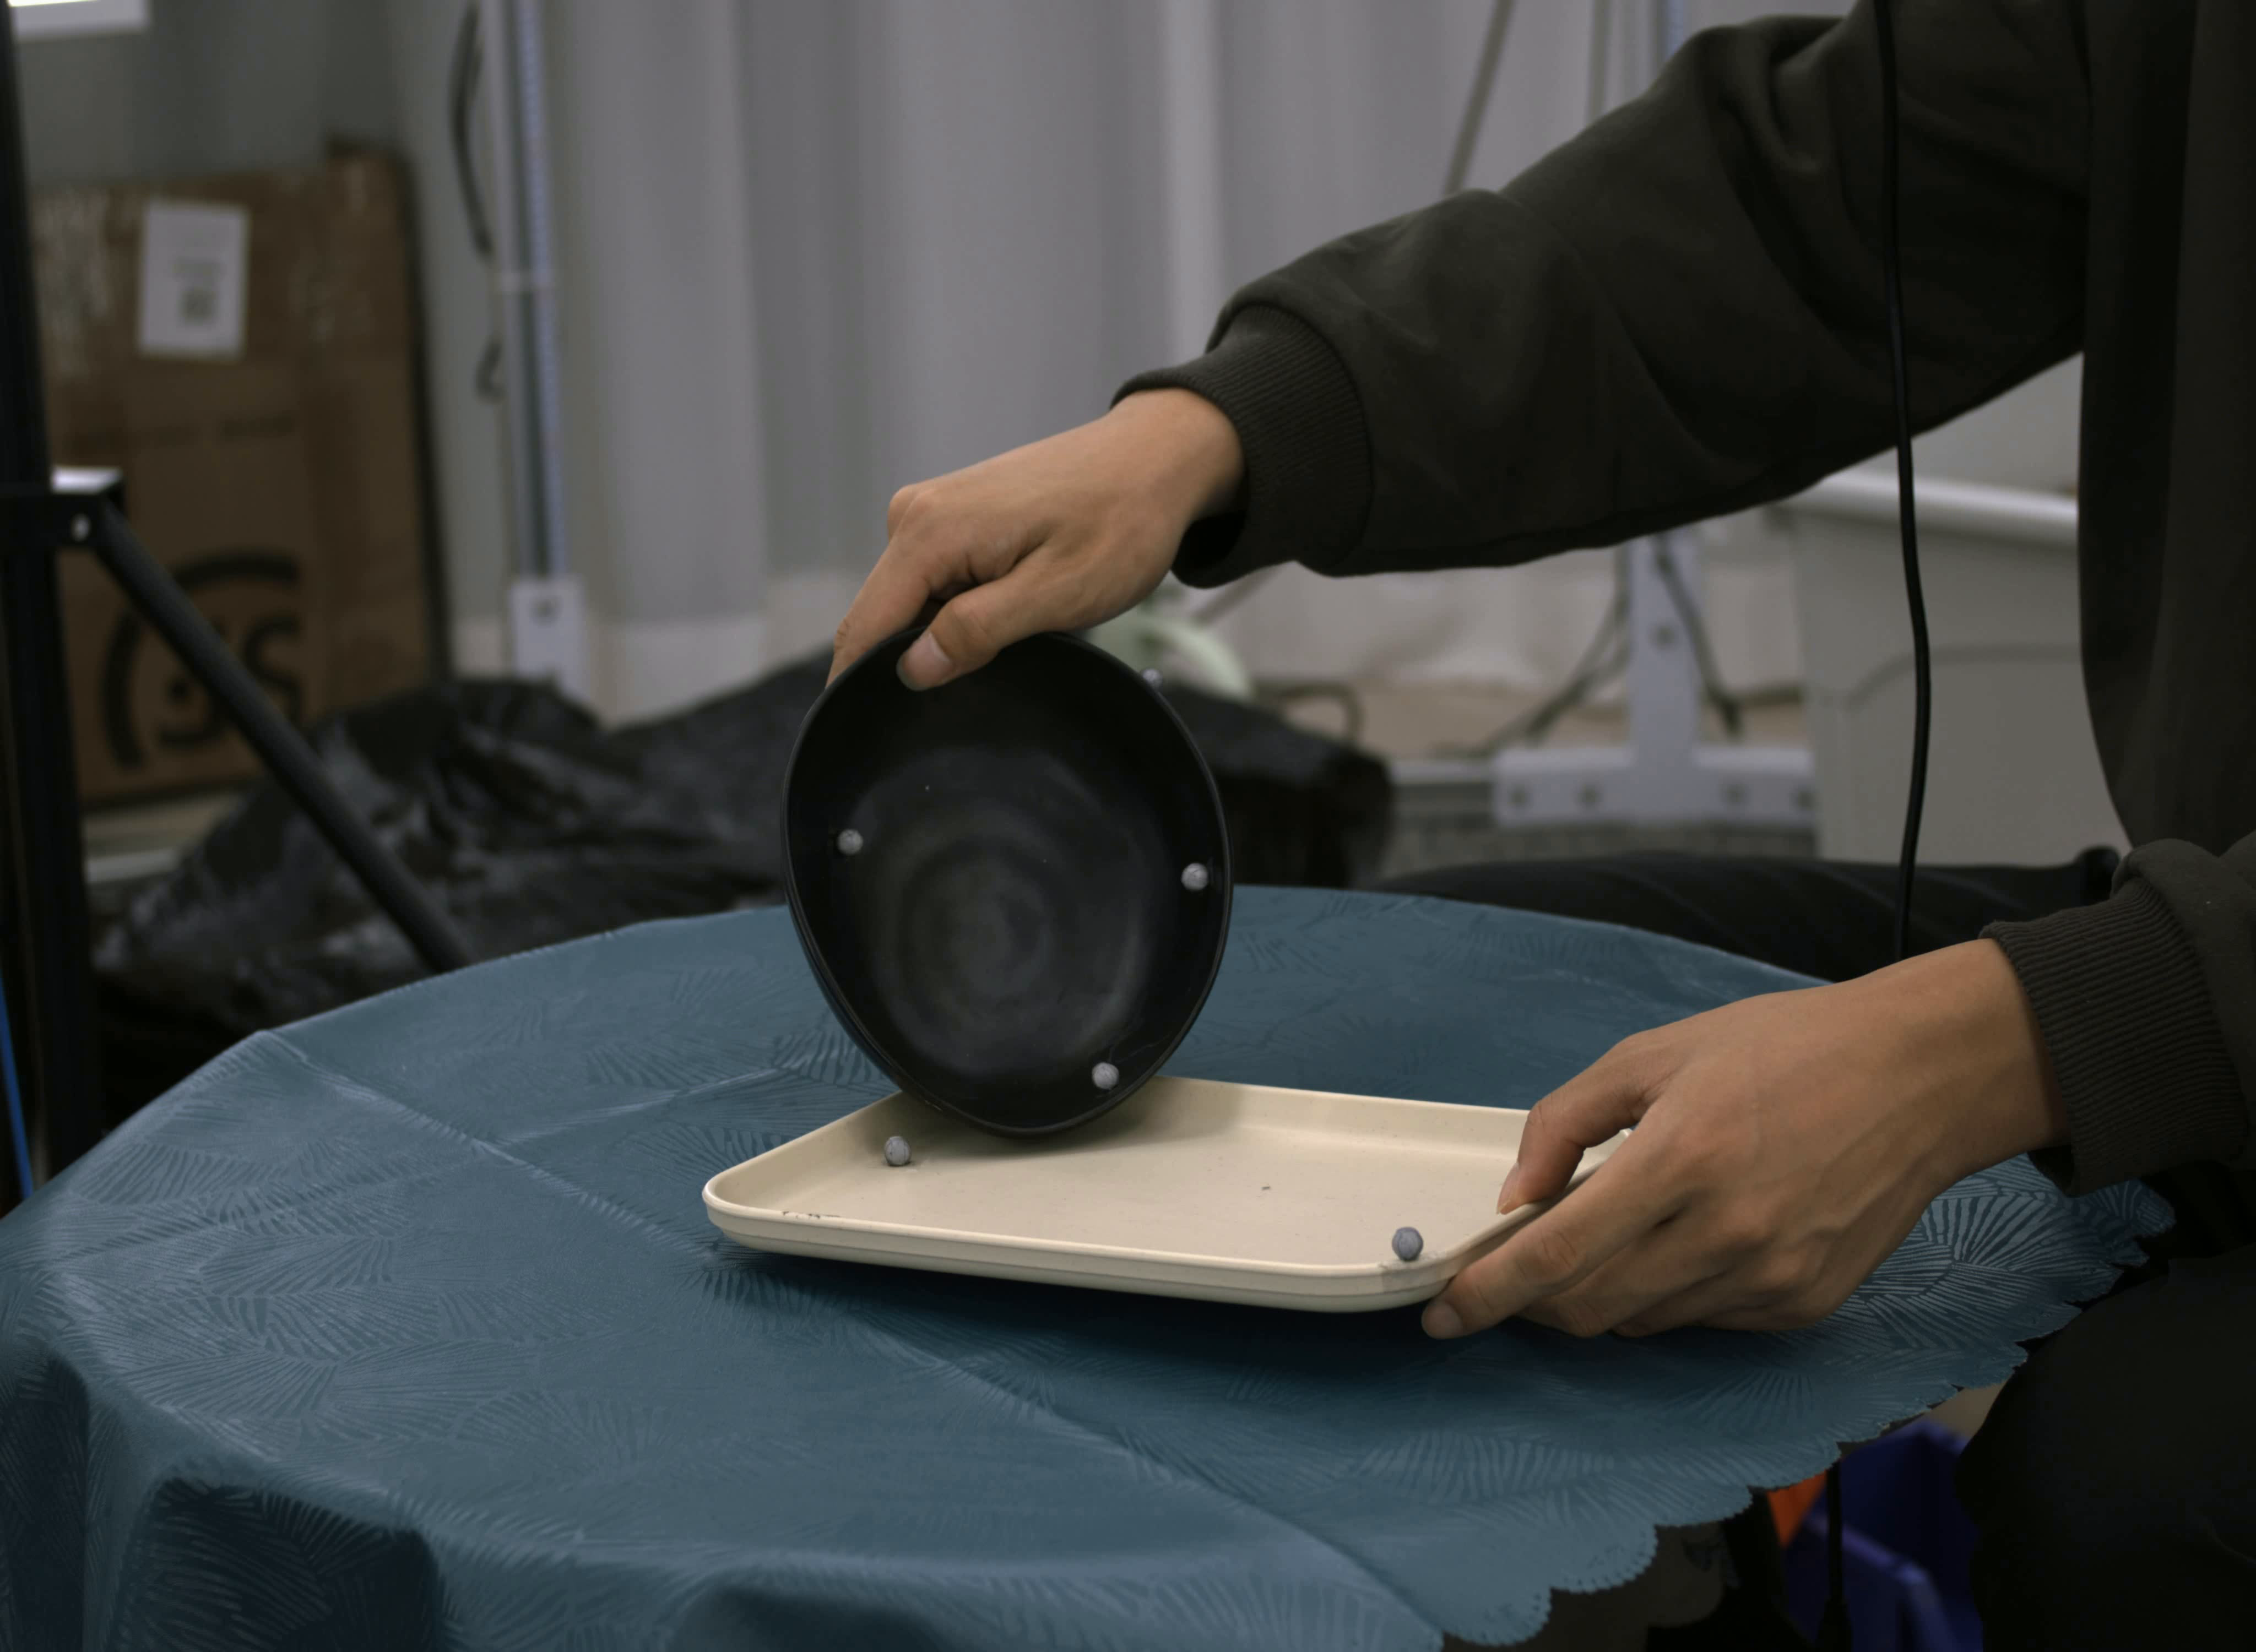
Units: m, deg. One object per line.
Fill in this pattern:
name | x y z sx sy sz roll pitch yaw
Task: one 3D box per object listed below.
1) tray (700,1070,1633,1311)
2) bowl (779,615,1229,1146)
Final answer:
tray | 0.011 0.103 1.513 0.244 0.017 0.168 4 12 32
bowl | -0.040 0.023 1.629 0.136 0.172 0.066 -7 -24 -9
